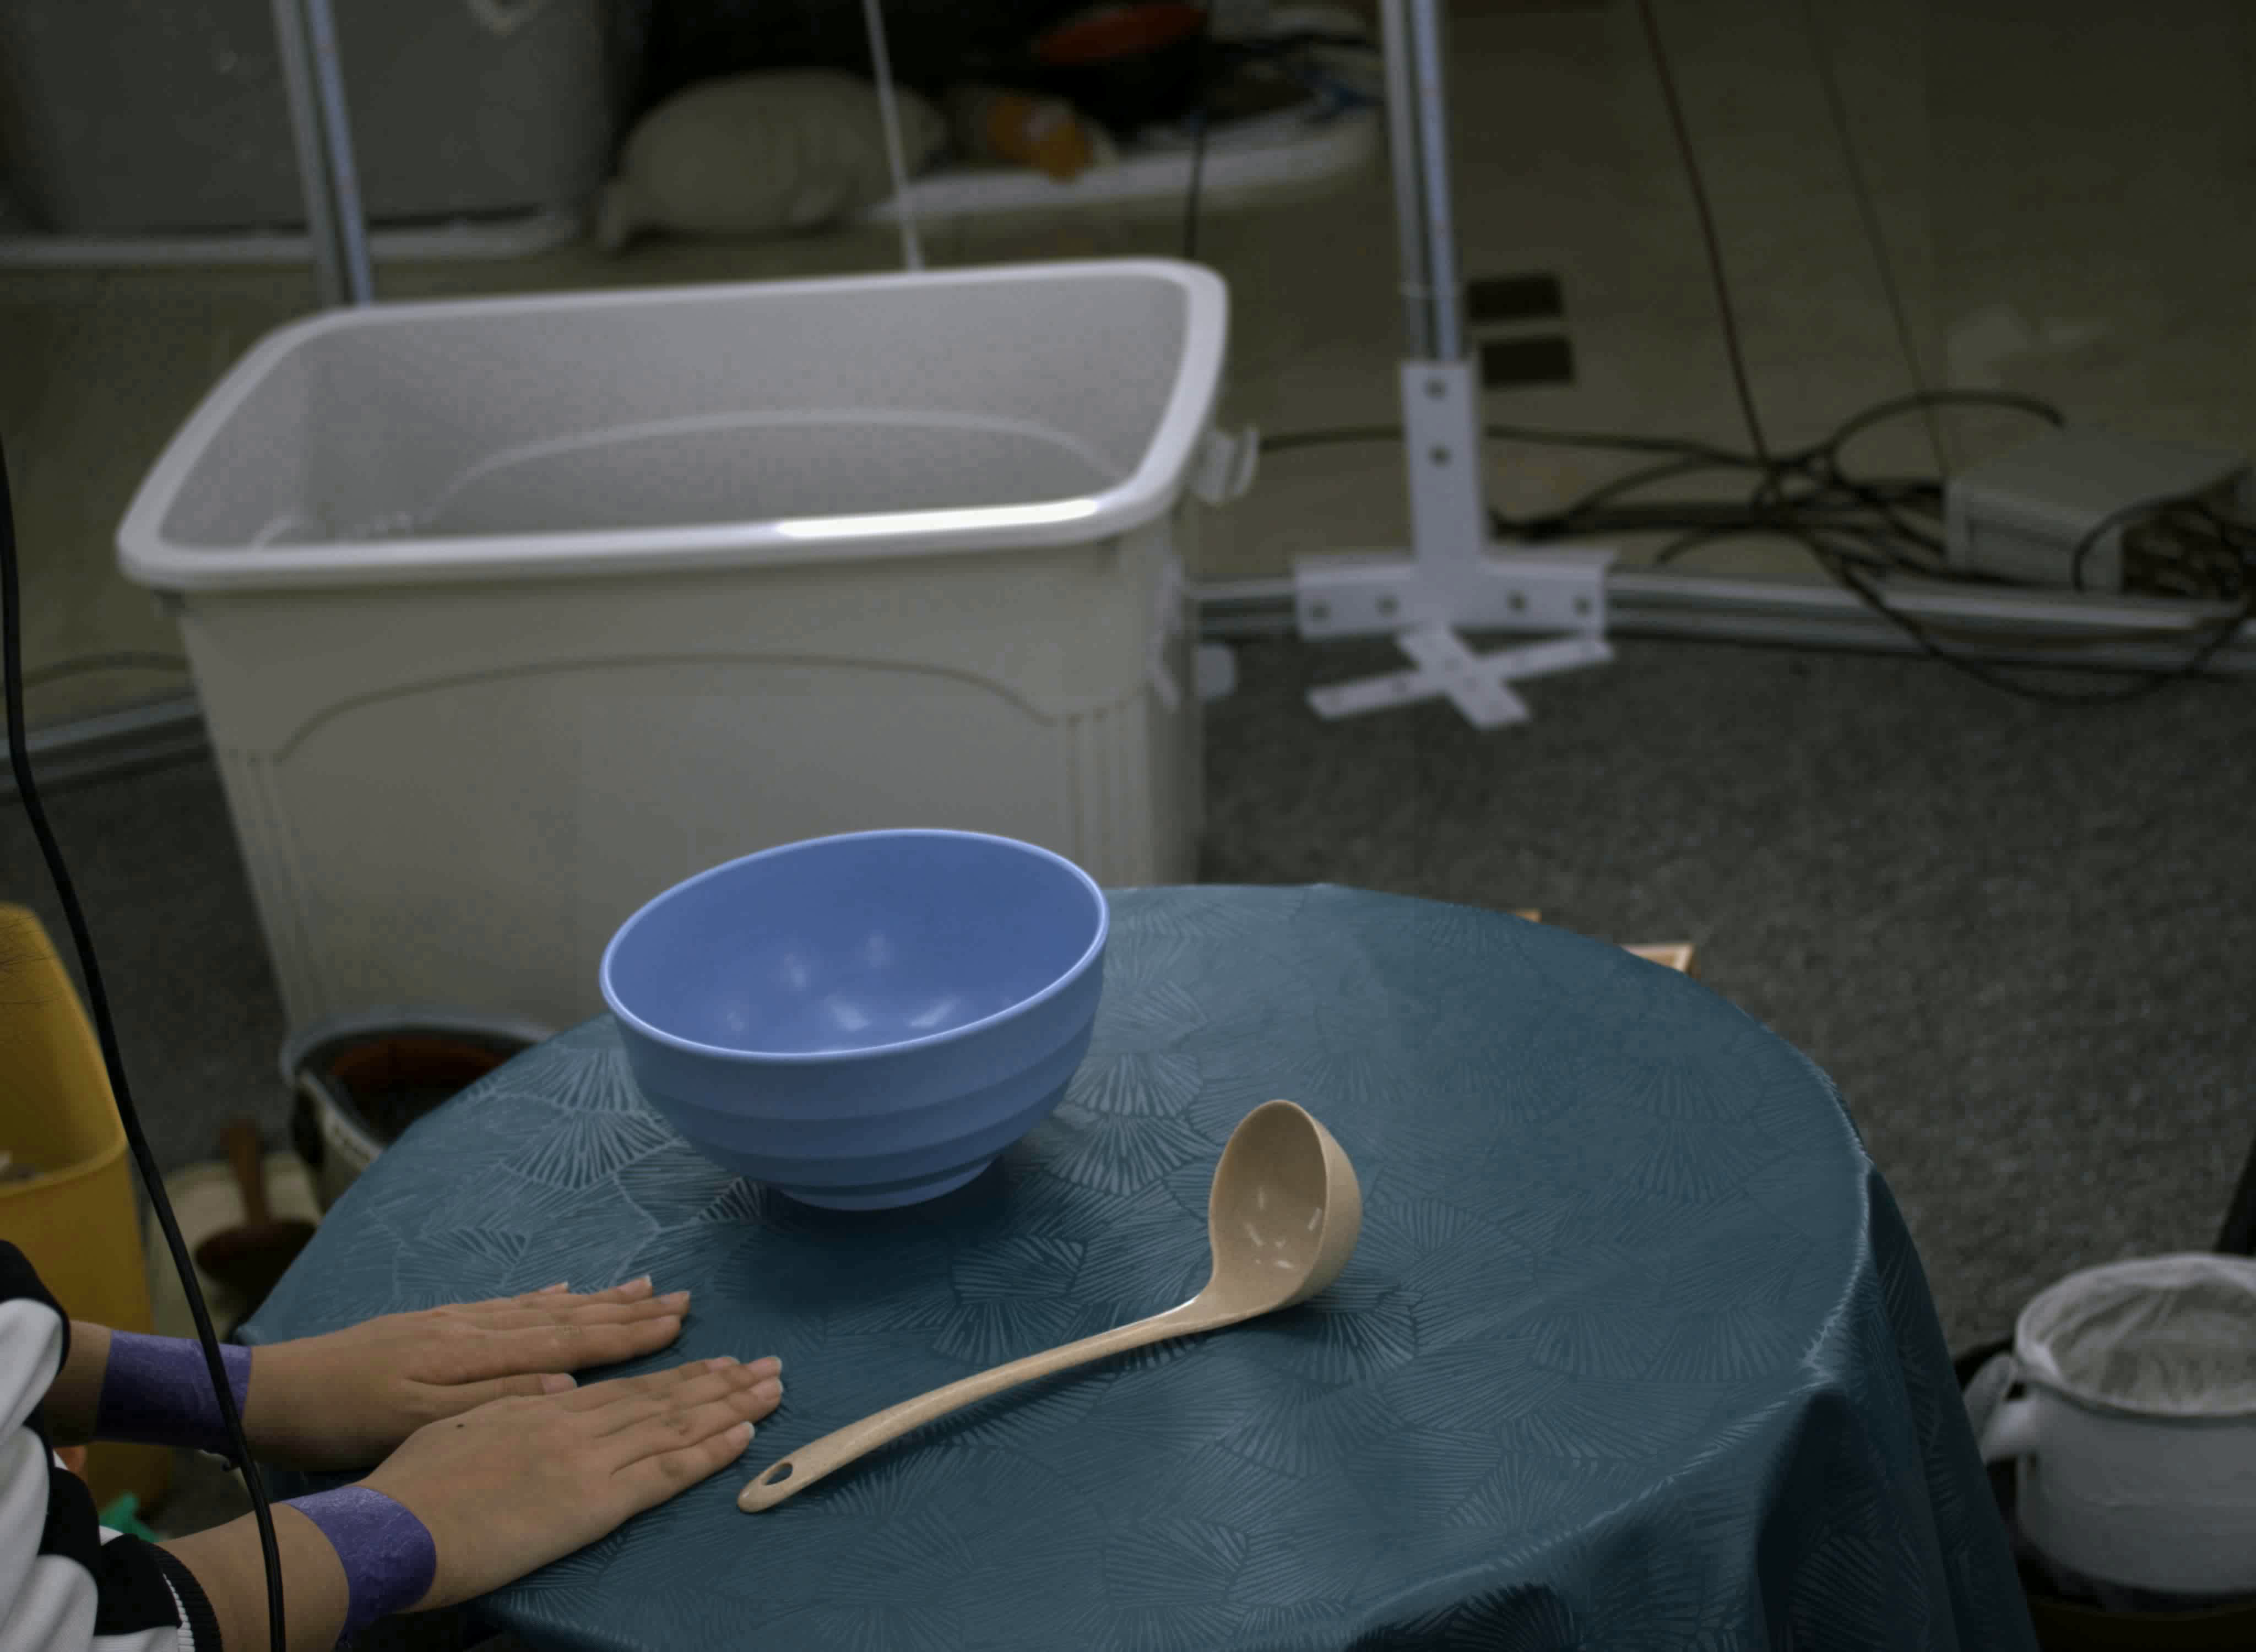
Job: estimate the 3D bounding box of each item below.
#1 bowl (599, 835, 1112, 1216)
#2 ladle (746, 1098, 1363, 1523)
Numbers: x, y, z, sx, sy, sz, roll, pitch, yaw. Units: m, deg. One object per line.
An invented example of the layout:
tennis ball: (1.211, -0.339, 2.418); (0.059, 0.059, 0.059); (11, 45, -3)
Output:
bowl: (-0.100, 0.087, 2.175); (0.196, 0.097, 0.193); (-4, 25, 2)
ladle: (-0.030, 0.168, 2.007); (0.253, 0.074, 0.071); (-21, 28, -27)
